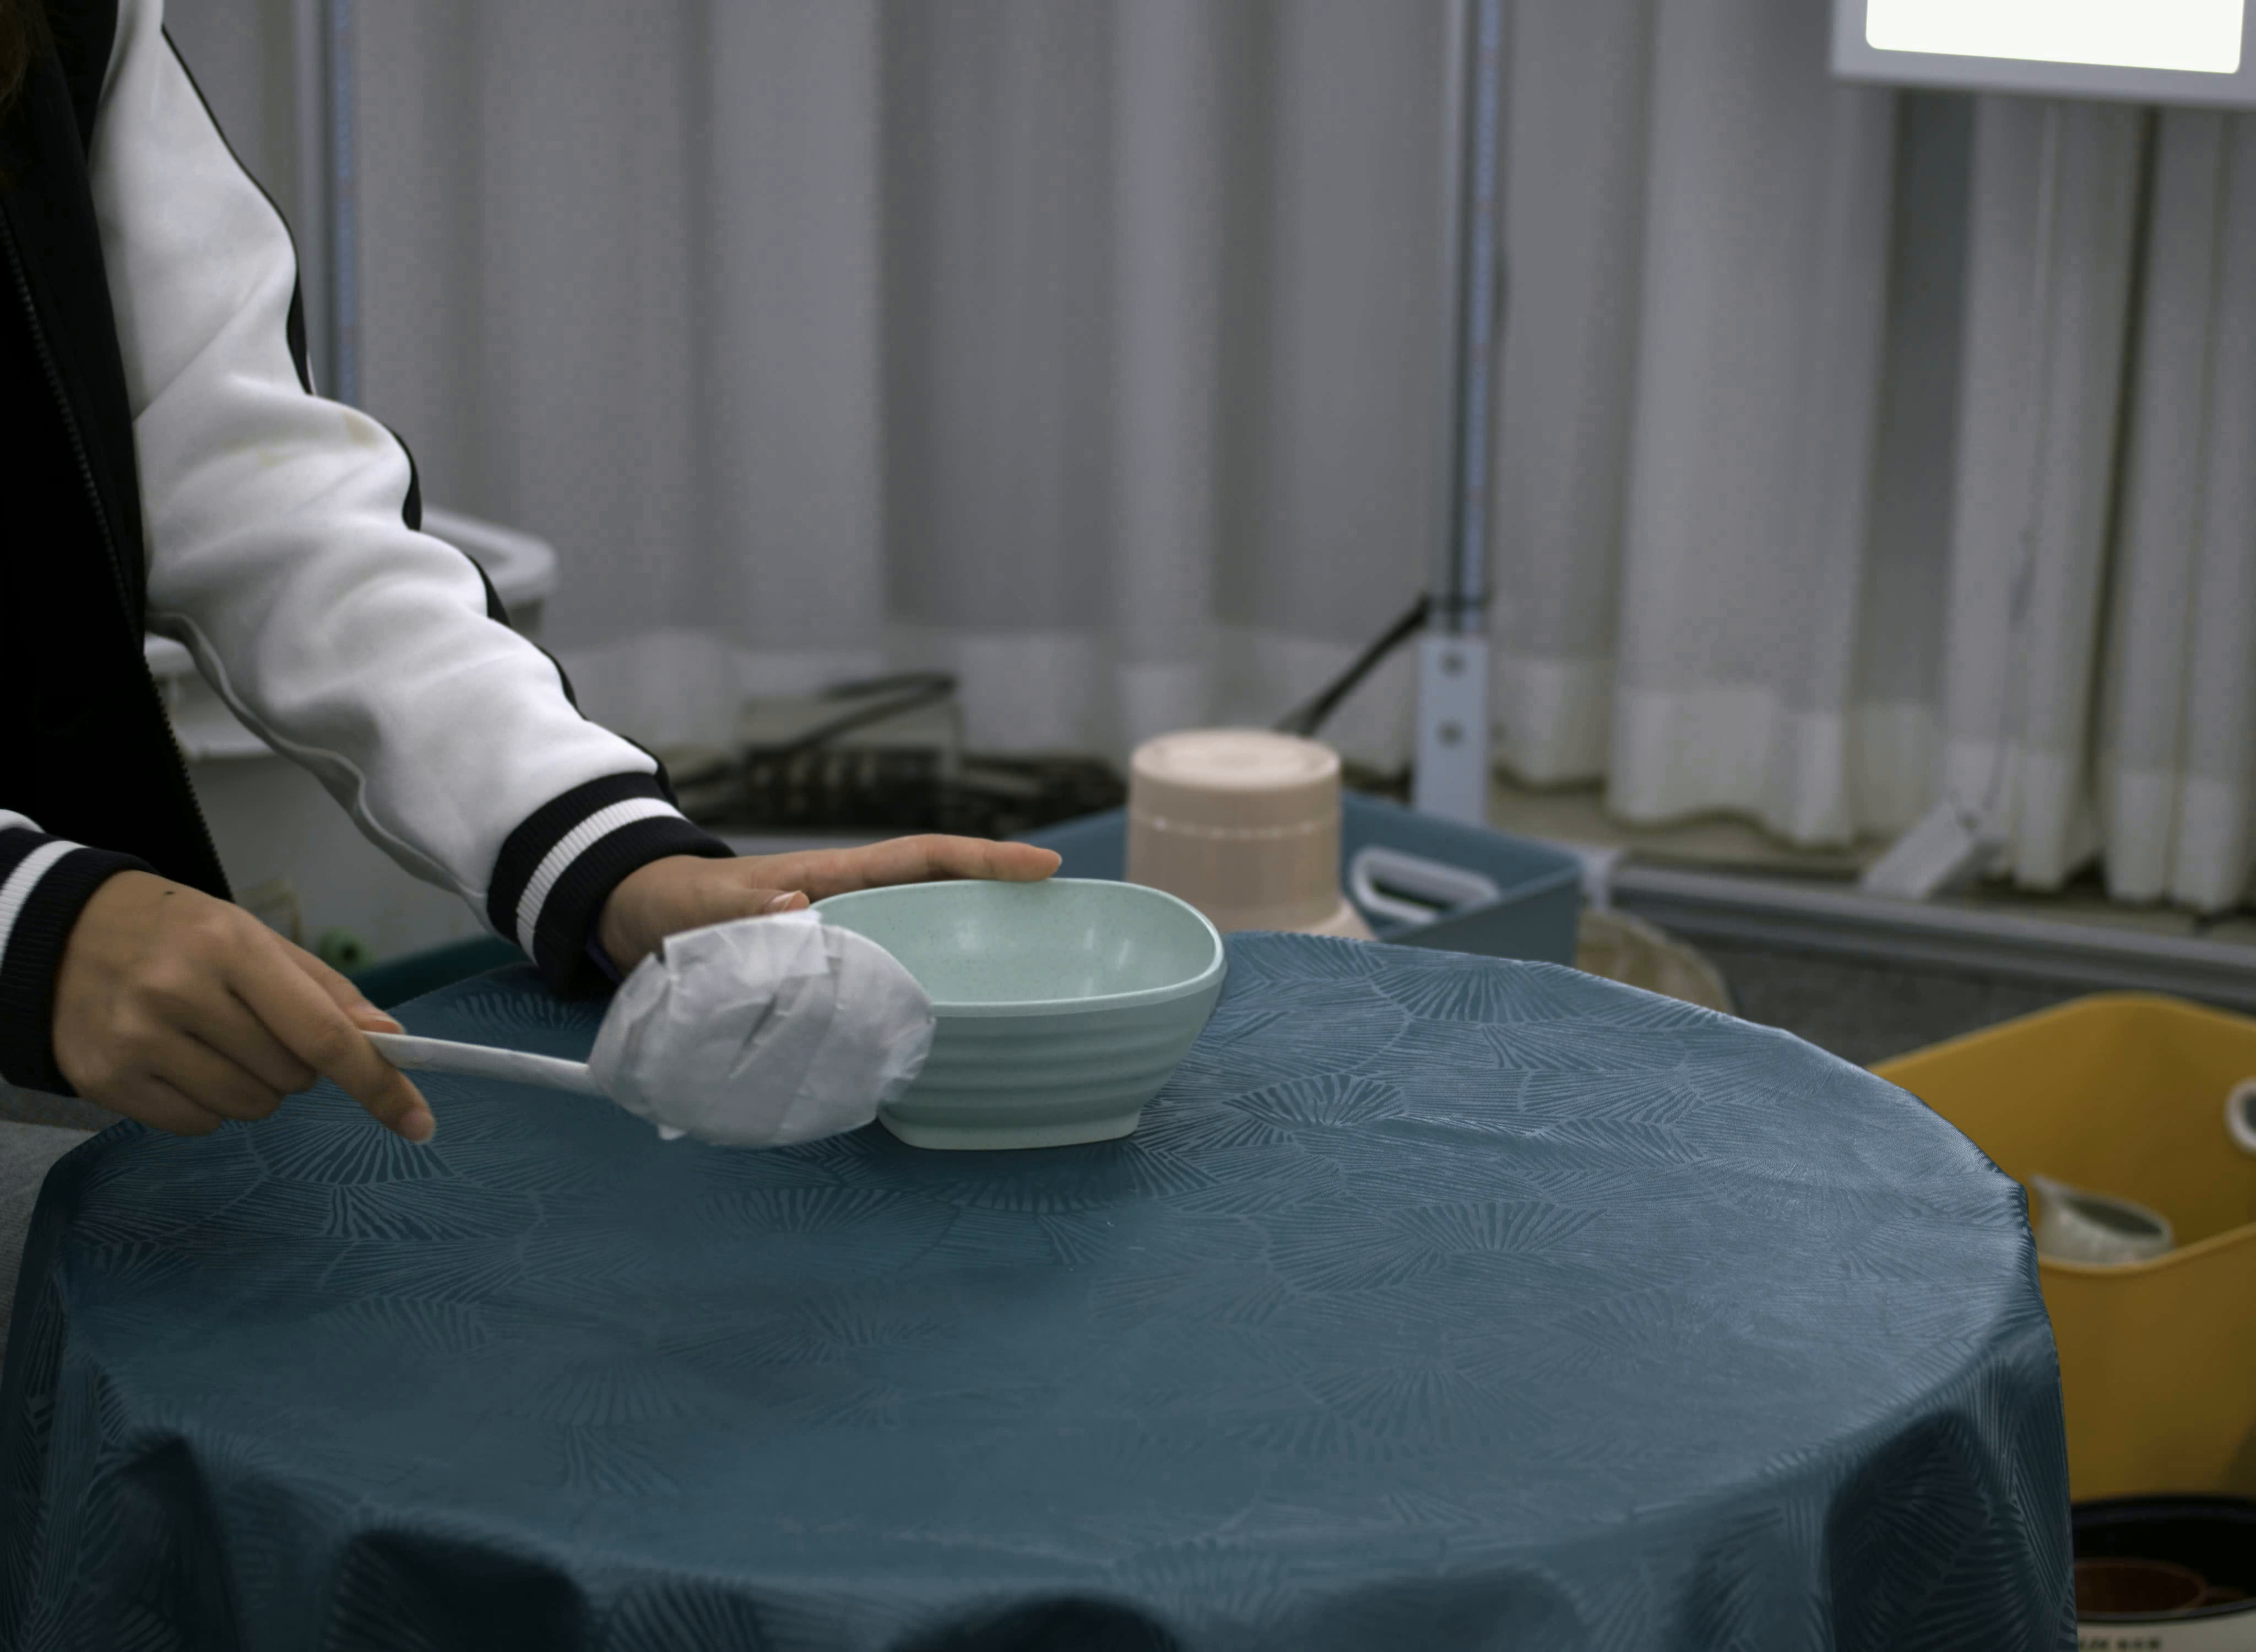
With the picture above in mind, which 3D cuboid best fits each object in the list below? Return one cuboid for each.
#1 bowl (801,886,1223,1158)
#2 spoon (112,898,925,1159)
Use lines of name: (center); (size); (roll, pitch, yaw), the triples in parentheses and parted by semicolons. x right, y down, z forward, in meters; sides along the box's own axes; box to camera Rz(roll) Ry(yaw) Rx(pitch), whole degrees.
bowl: (-0.040, 0.066, 1.689); (0.151, 0.059, 0.150); (1, 15, 0)
spoon: (-0.183, 0.054, 1.541); (0.274, 0.102, 0.059); (4, 46, 35)
